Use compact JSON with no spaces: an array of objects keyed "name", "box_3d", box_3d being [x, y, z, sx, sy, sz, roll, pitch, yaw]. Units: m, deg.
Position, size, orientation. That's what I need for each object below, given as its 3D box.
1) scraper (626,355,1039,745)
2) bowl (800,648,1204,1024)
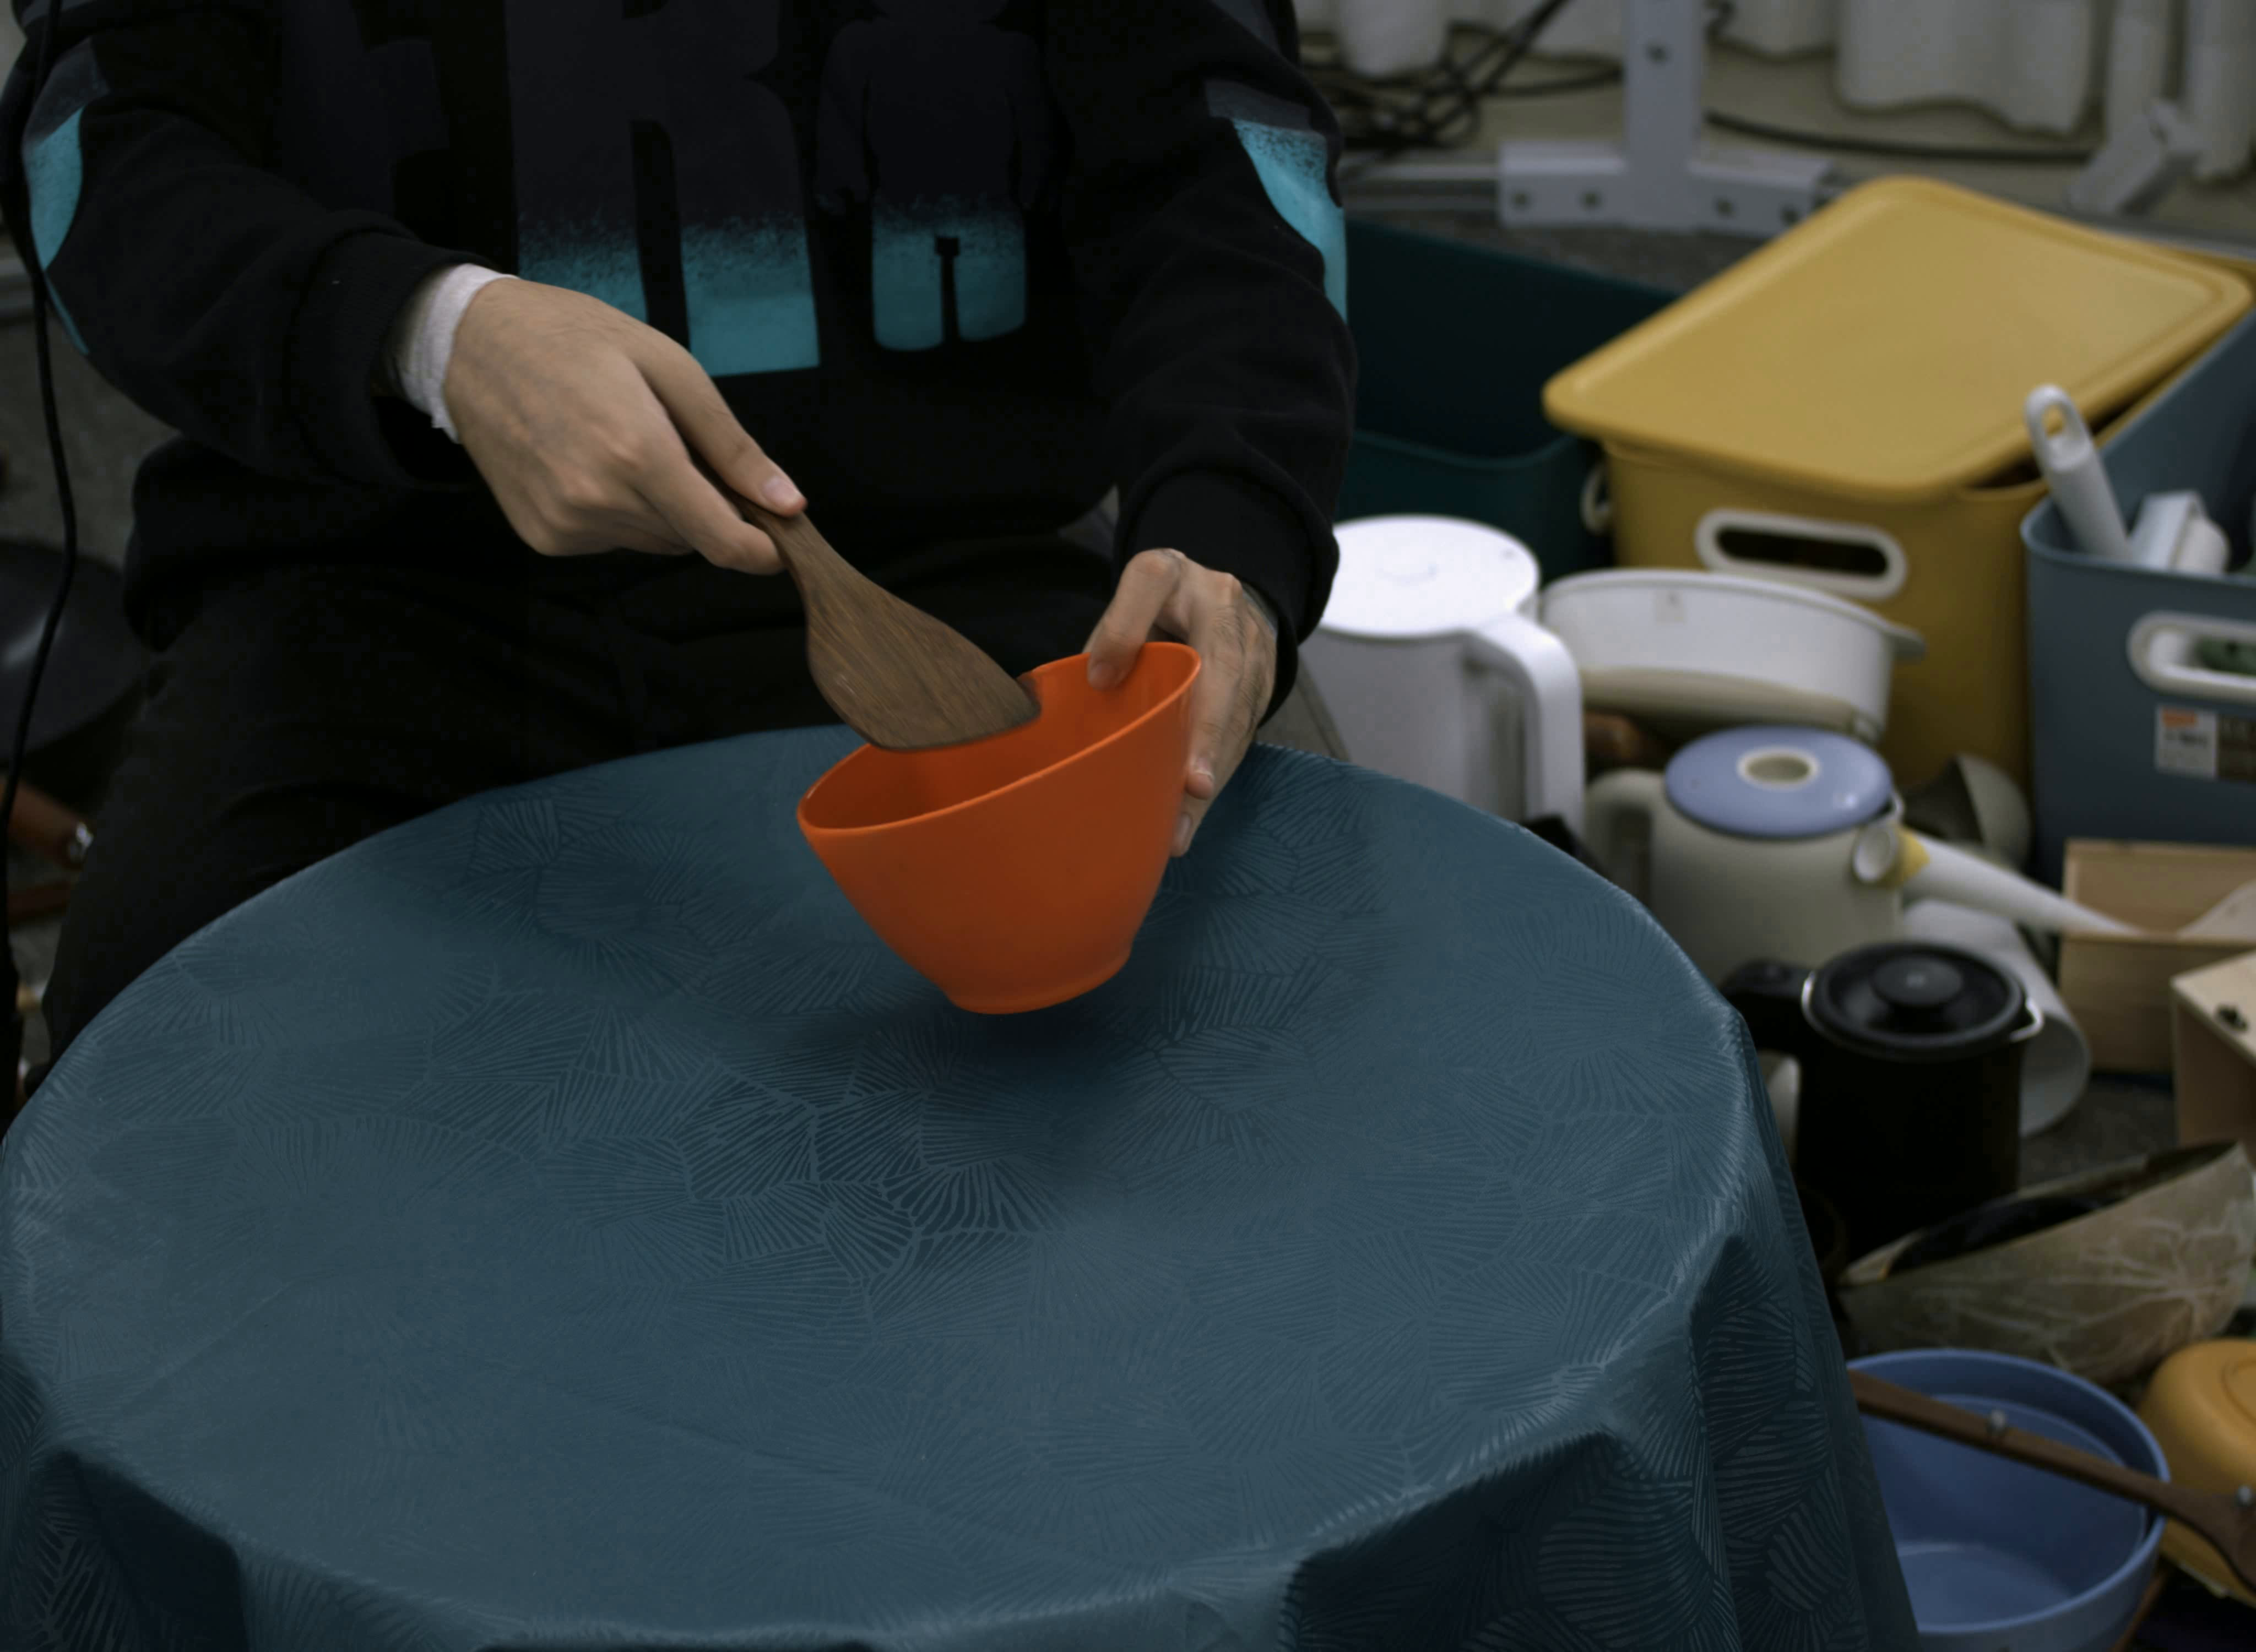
[{"name":"scraper","box_3d":[-0.112,-0.097,1.950,0.076,0.010,0.213,-11,48,-38]},{"name":"bowl","box_3d":[-0.033,0.008,1.927,0.147,0.104,0.150,-13,21,6]}]
